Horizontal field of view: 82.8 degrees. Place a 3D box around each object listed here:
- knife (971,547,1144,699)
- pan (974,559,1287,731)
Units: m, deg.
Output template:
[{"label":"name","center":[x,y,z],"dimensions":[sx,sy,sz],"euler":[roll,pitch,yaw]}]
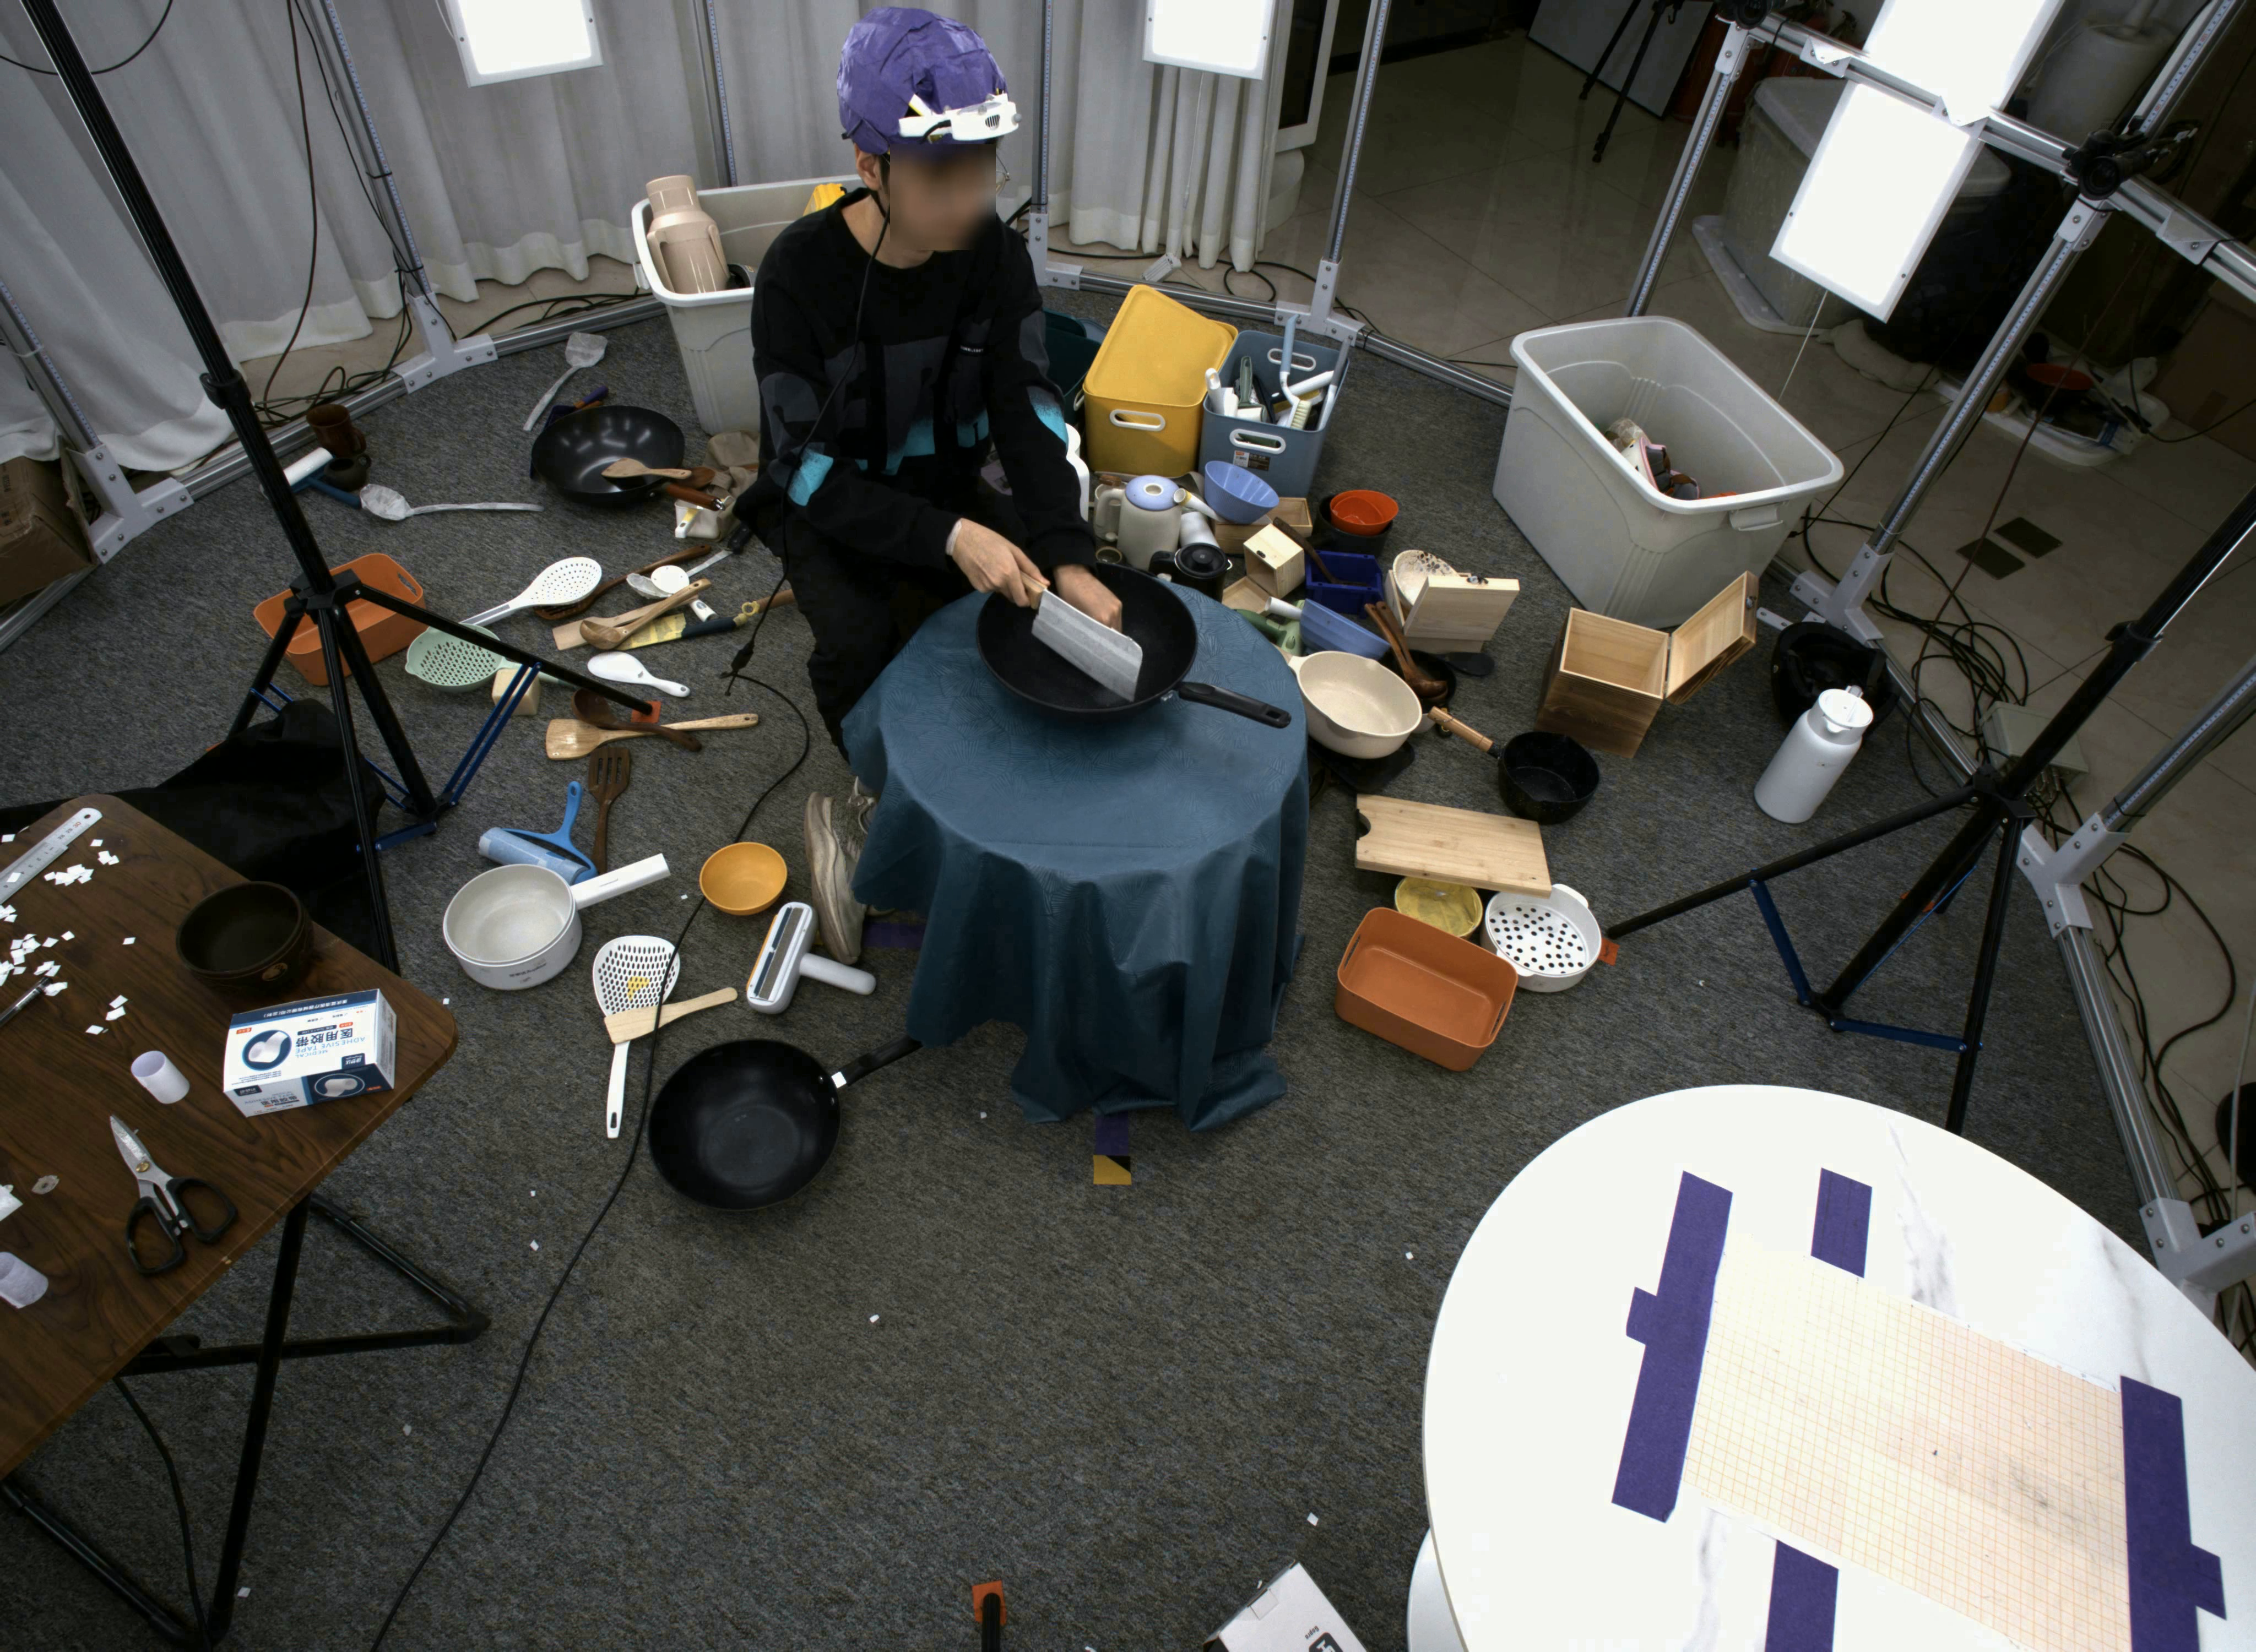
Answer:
[{"label":"knife","center":[-0.098,-0.295,1.804],"dimensions":[0.318,0.111,0.022],"euler":[38,51,15]},{"label":"pan","center":[0.007,-0.213,1.786],"dimensions":[0.482,0.109,0.314],"euler":[30,55,20]}]
